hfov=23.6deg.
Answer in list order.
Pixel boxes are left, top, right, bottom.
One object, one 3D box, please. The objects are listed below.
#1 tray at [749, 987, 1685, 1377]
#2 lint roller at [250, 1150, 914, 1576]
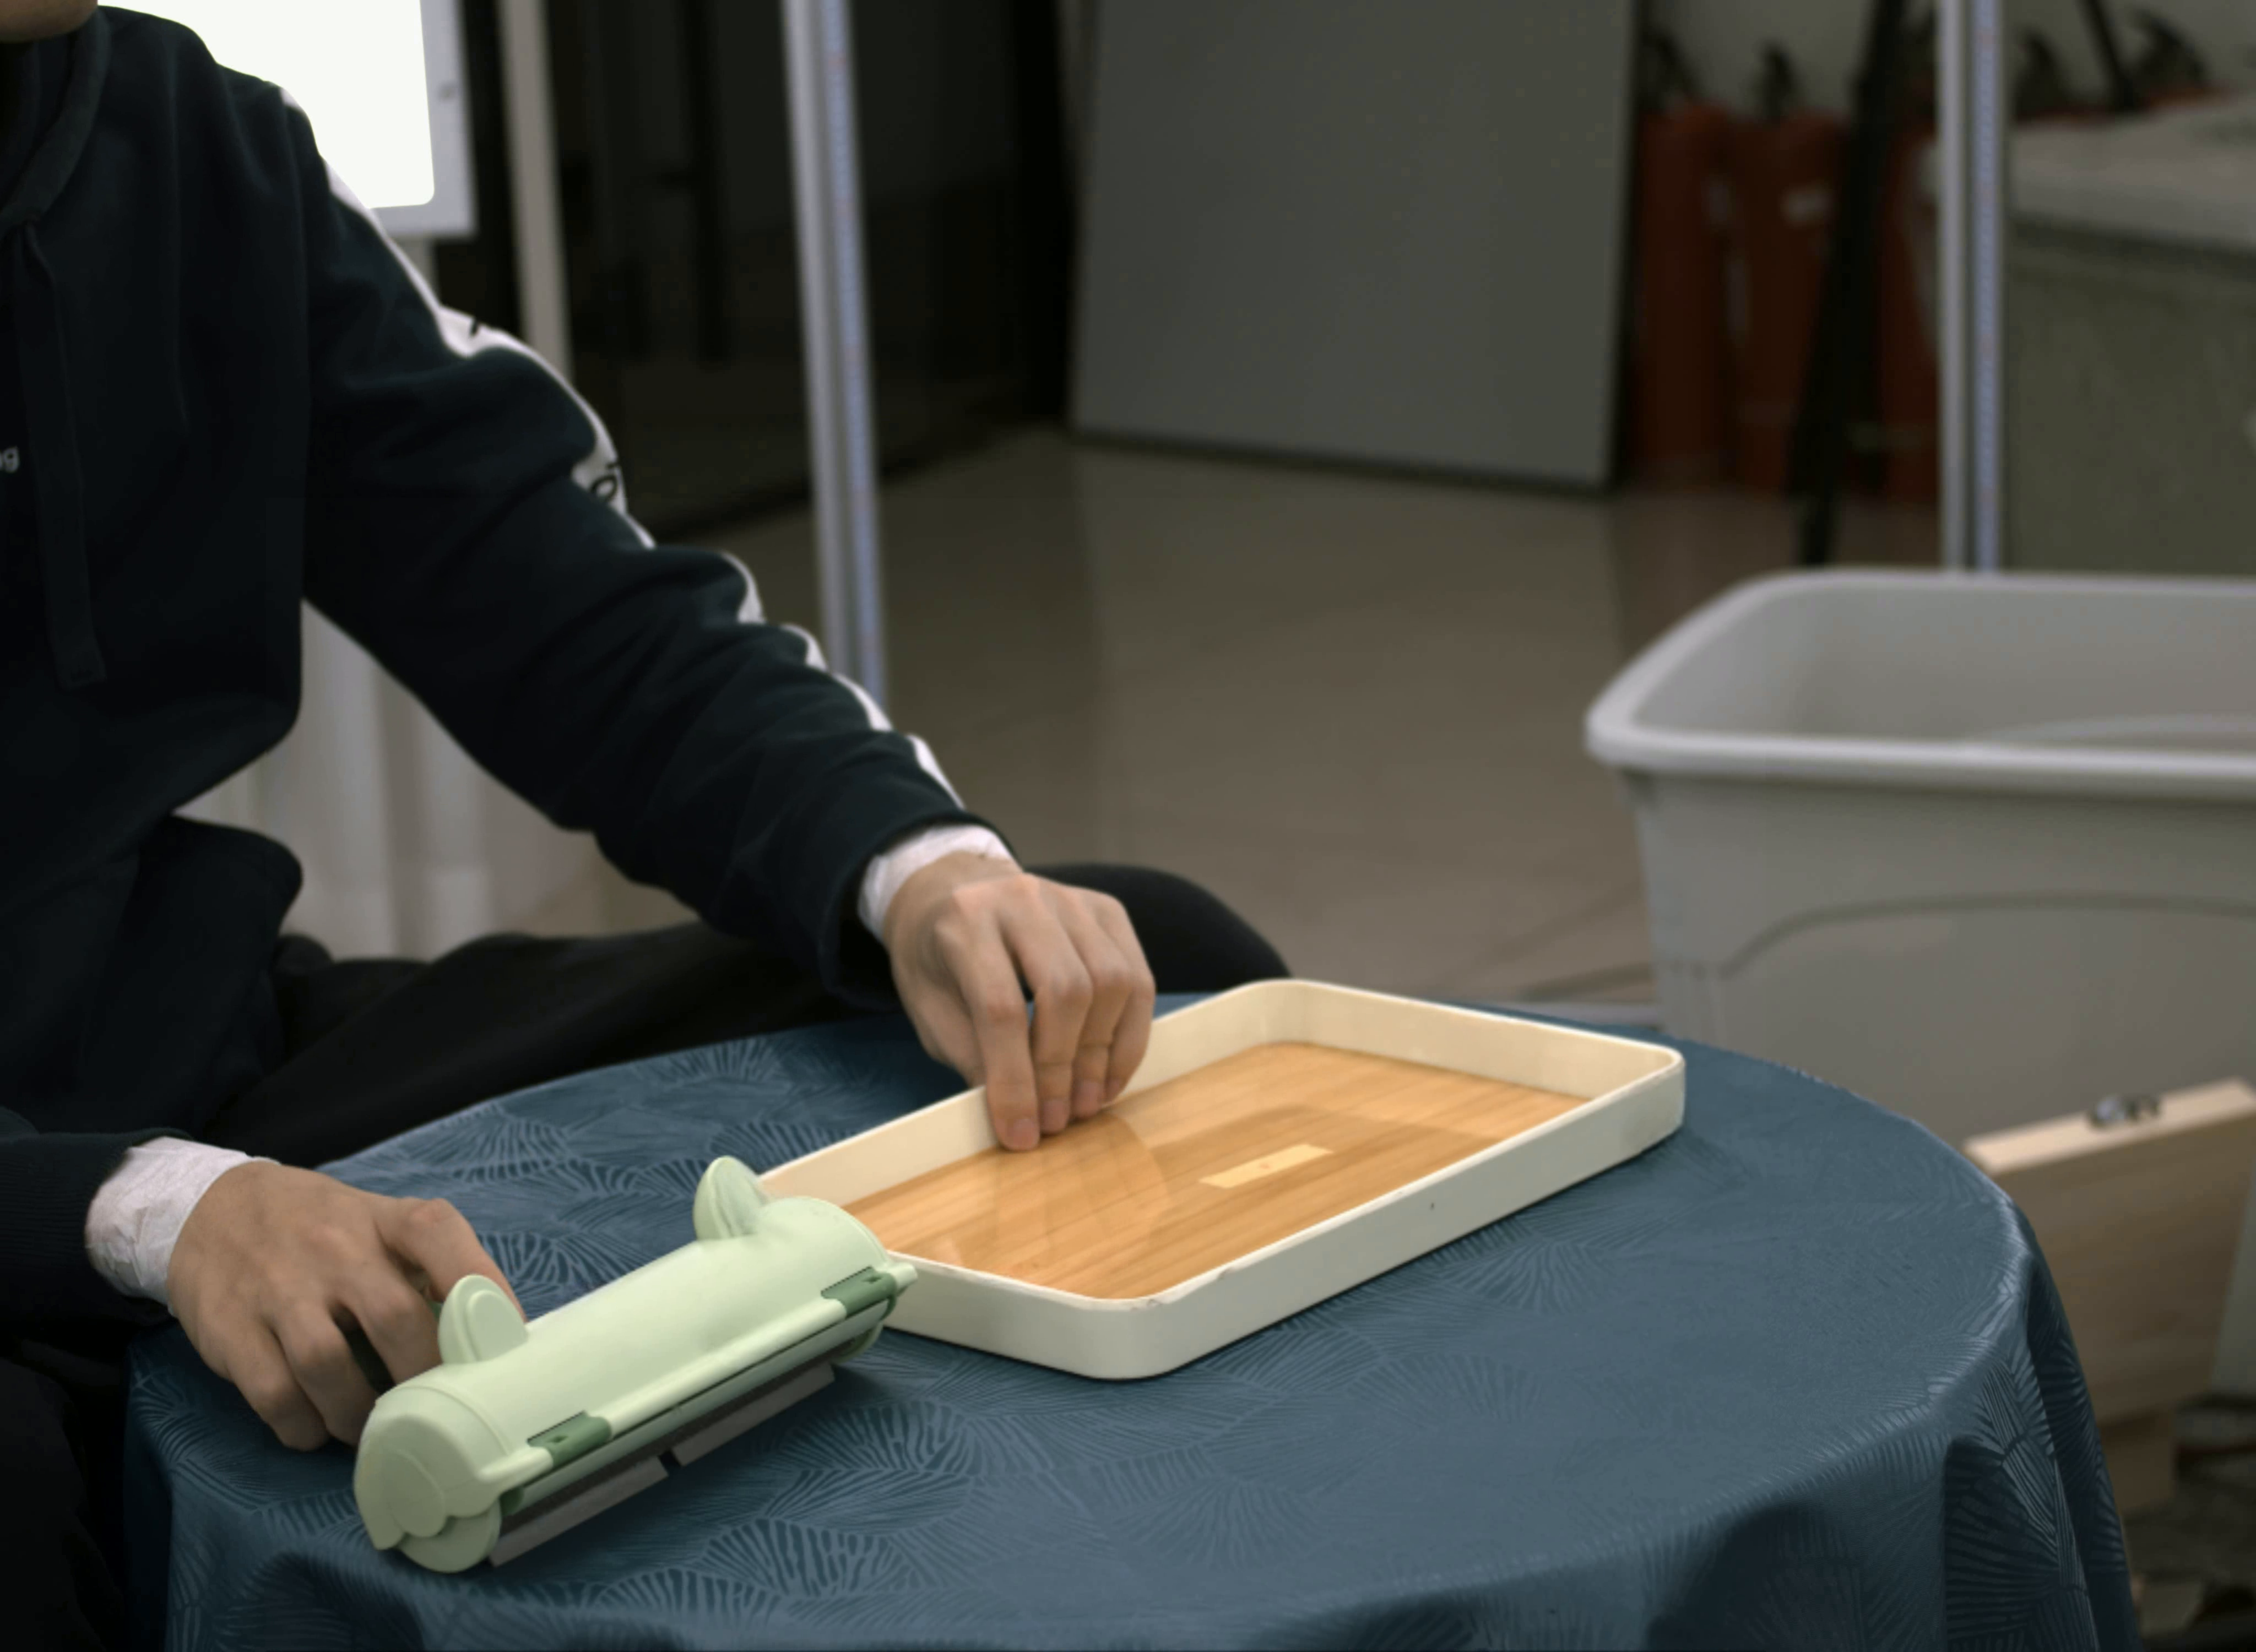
[{"bbox_3d":[0.027,0.111,1.750,0.193,0.028,0.294,7,18,41],"label":"tray"},{"bbox_3d":[-0.187,0.142,1.577,0.184,0.083,0.195,11,20,33],"label":"lint roller"}]
